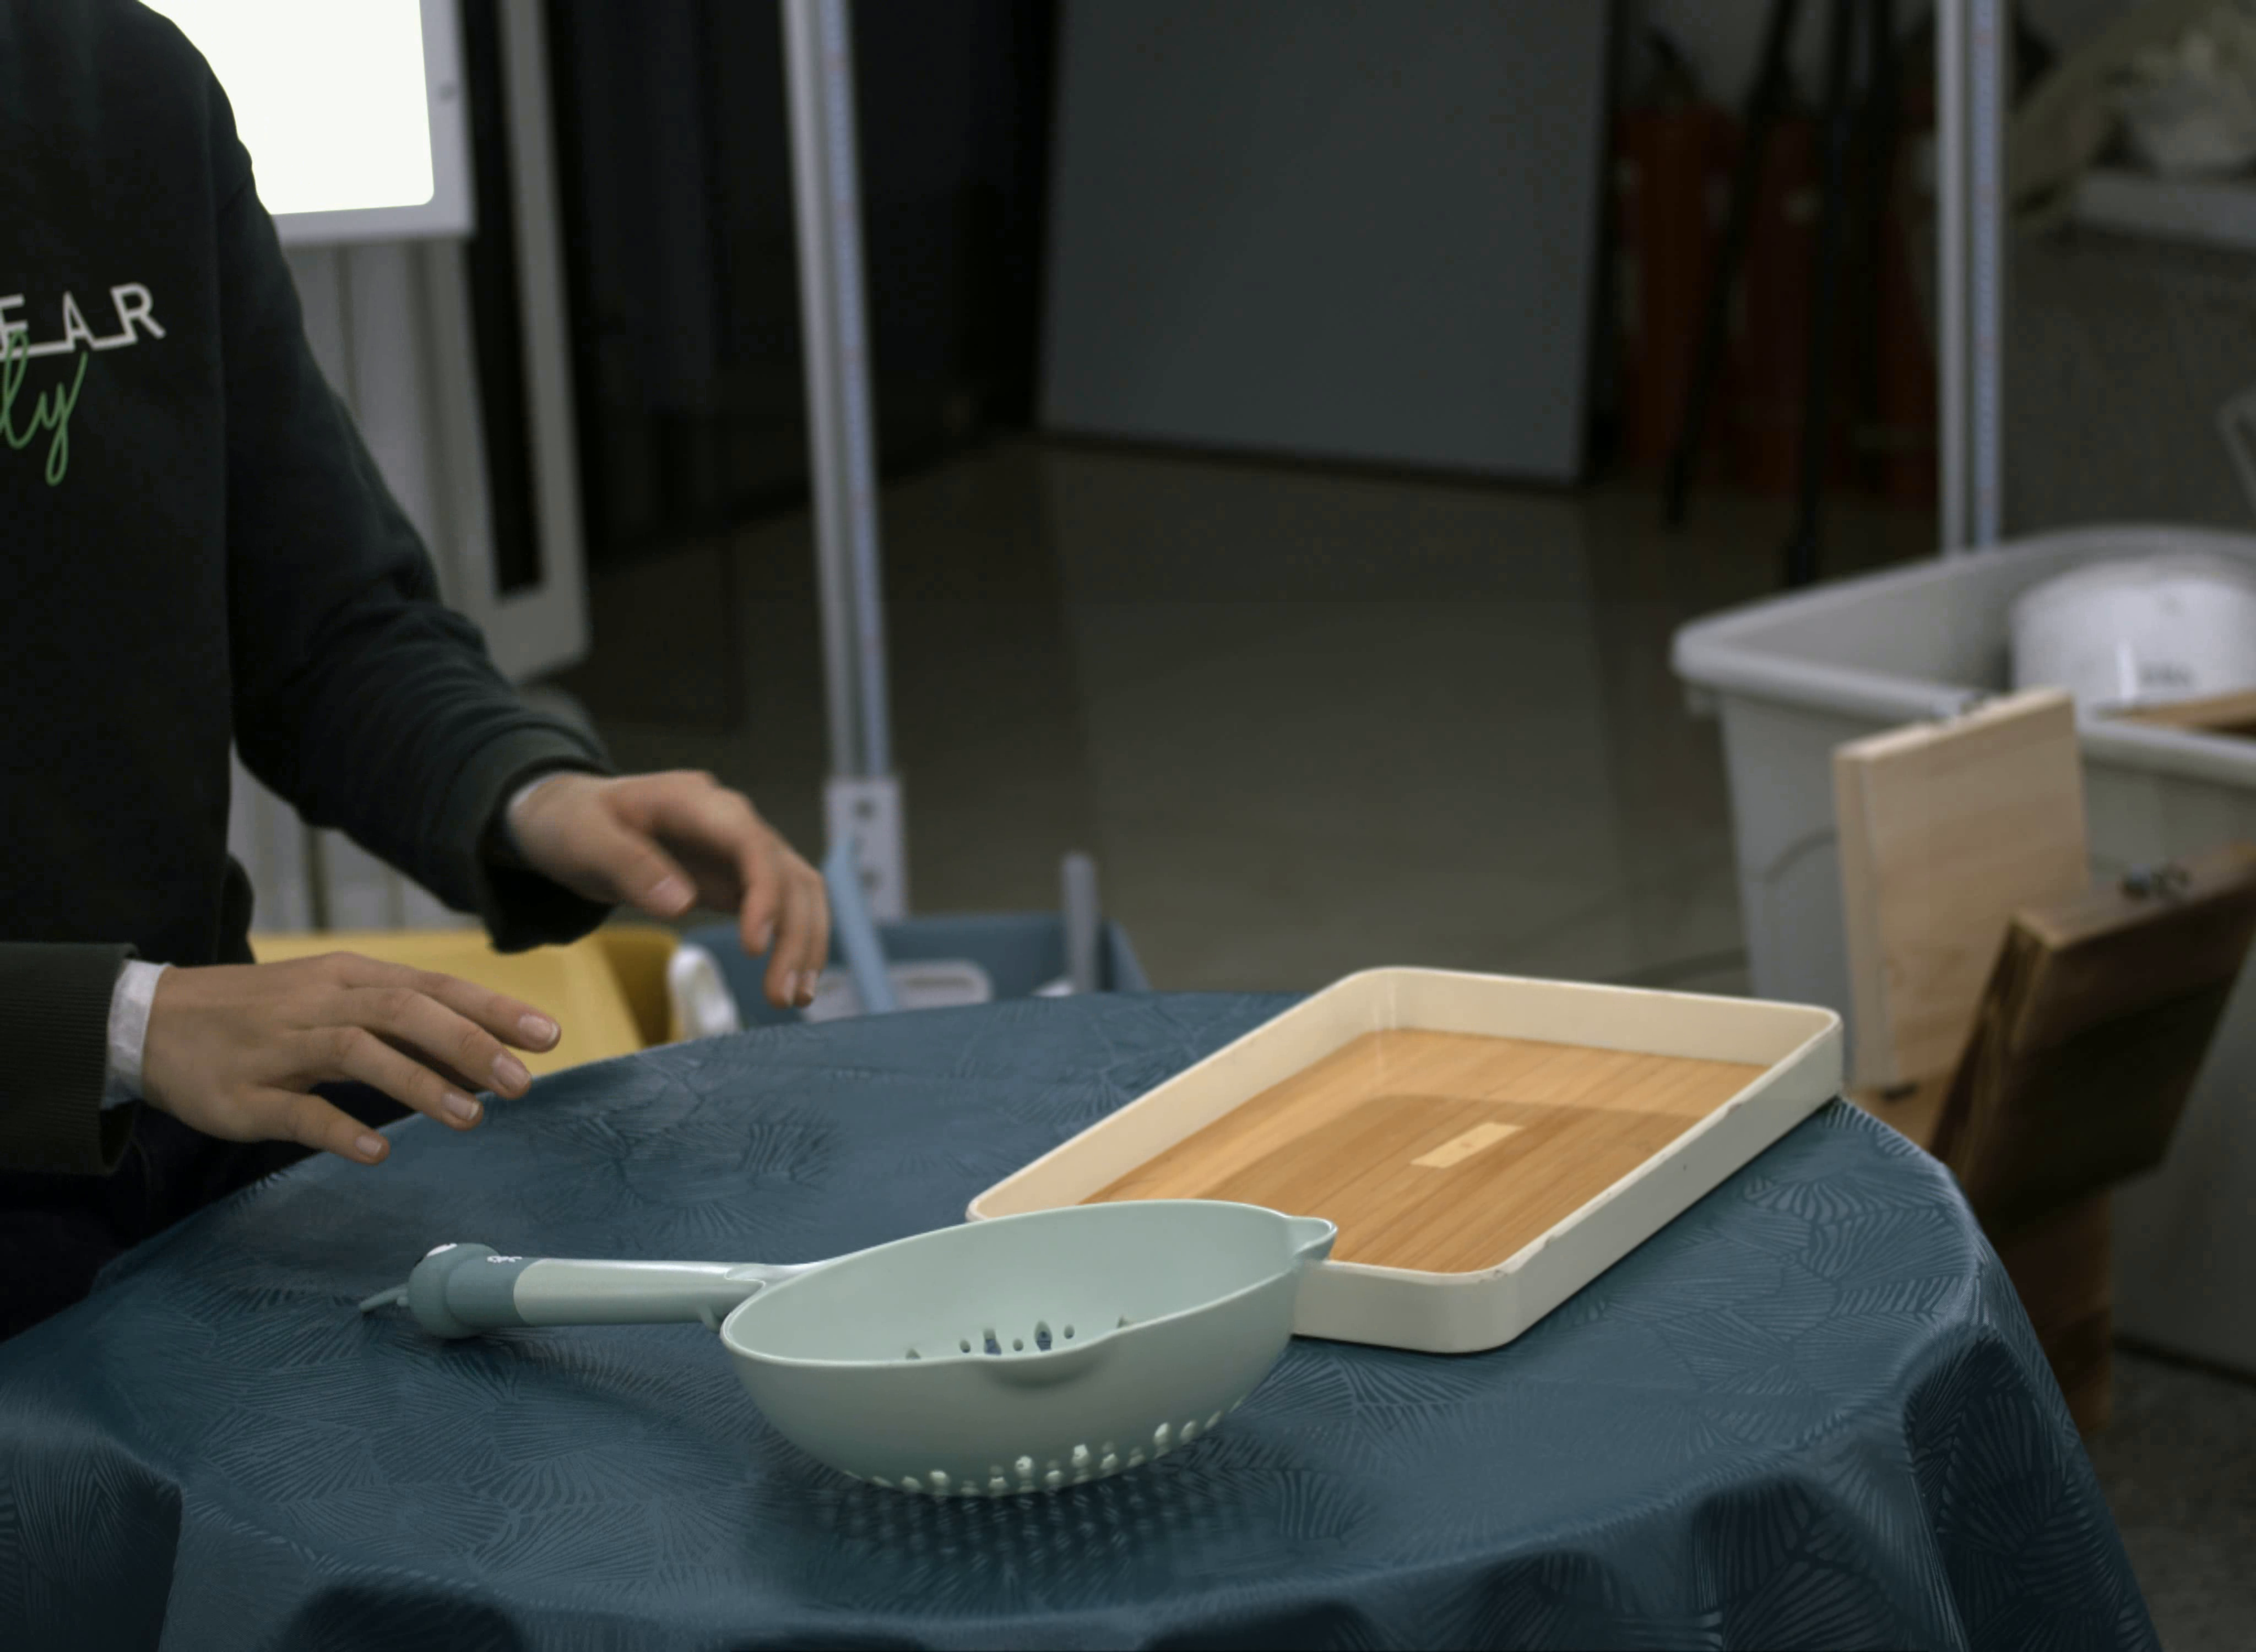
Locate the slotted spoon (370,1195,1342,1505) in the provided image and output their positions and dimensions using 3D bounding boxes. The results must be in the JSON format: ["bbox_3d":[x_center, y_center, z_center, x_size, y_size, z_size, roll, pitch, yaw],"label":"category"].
[{"bbox_3d":[-0.101,0.142,1.580,0.362,0.076,0.166,8,17,40],"label":"slotted spoon"}]

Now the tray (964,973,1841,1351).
[{"bbox_3d":[0.096,0.105,1.755,0.192,0.028,0.296,4,16,30],"label":"tray"}]
